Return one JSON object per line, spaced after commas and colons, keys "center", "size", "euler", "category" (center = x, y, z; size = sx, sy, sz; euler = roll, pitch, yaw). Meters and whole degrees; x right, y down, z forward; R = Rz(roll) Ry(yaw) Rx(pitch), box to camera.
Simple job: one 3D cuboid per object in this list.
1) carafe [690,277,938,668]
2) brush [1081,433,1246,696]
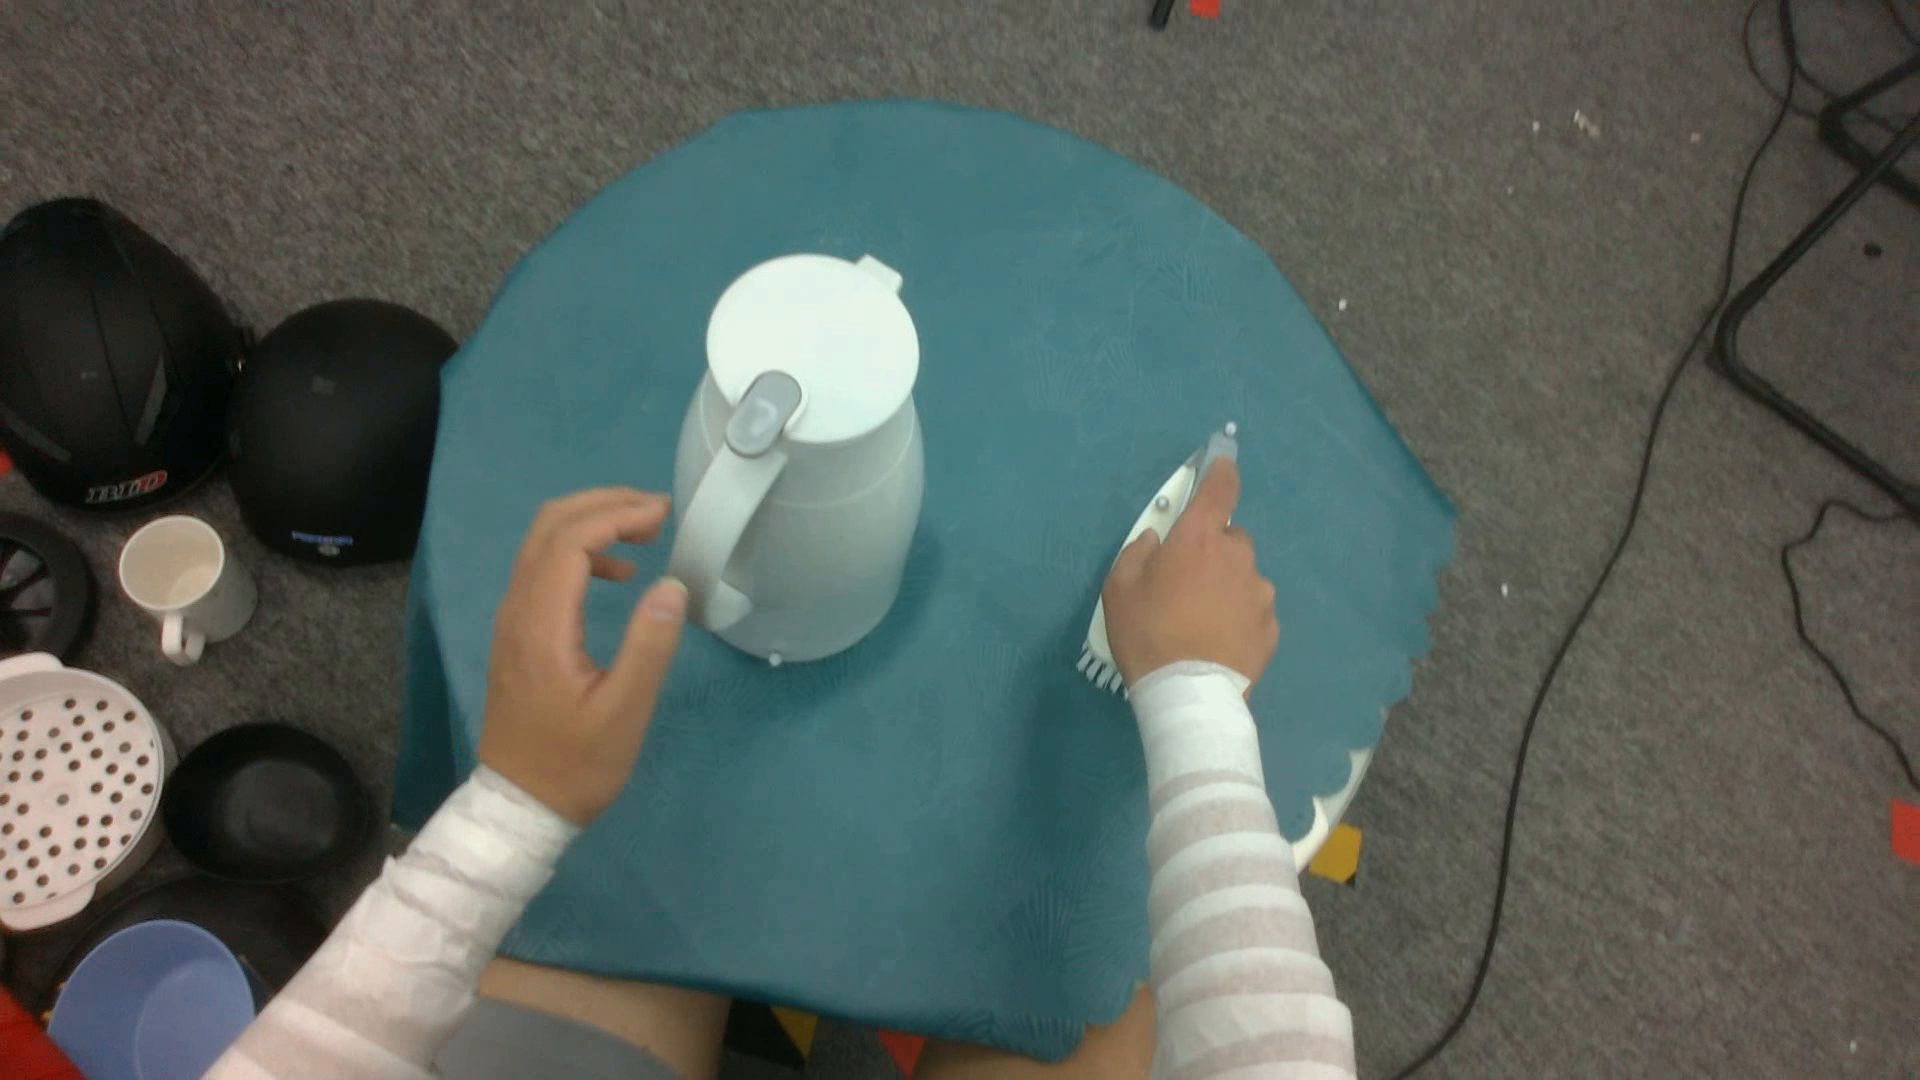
{"center": [-0.082, -0.017, 0.707], "size": [0.132, 0.247, 0.168], "euler": [29, 67, 4], "category": "carafe"}
{"center": [0.135, 0.000, 0.819], "size": [0.061, 0.094, 0.176], "euler": [27, 65, 0], "category": "brush"}
